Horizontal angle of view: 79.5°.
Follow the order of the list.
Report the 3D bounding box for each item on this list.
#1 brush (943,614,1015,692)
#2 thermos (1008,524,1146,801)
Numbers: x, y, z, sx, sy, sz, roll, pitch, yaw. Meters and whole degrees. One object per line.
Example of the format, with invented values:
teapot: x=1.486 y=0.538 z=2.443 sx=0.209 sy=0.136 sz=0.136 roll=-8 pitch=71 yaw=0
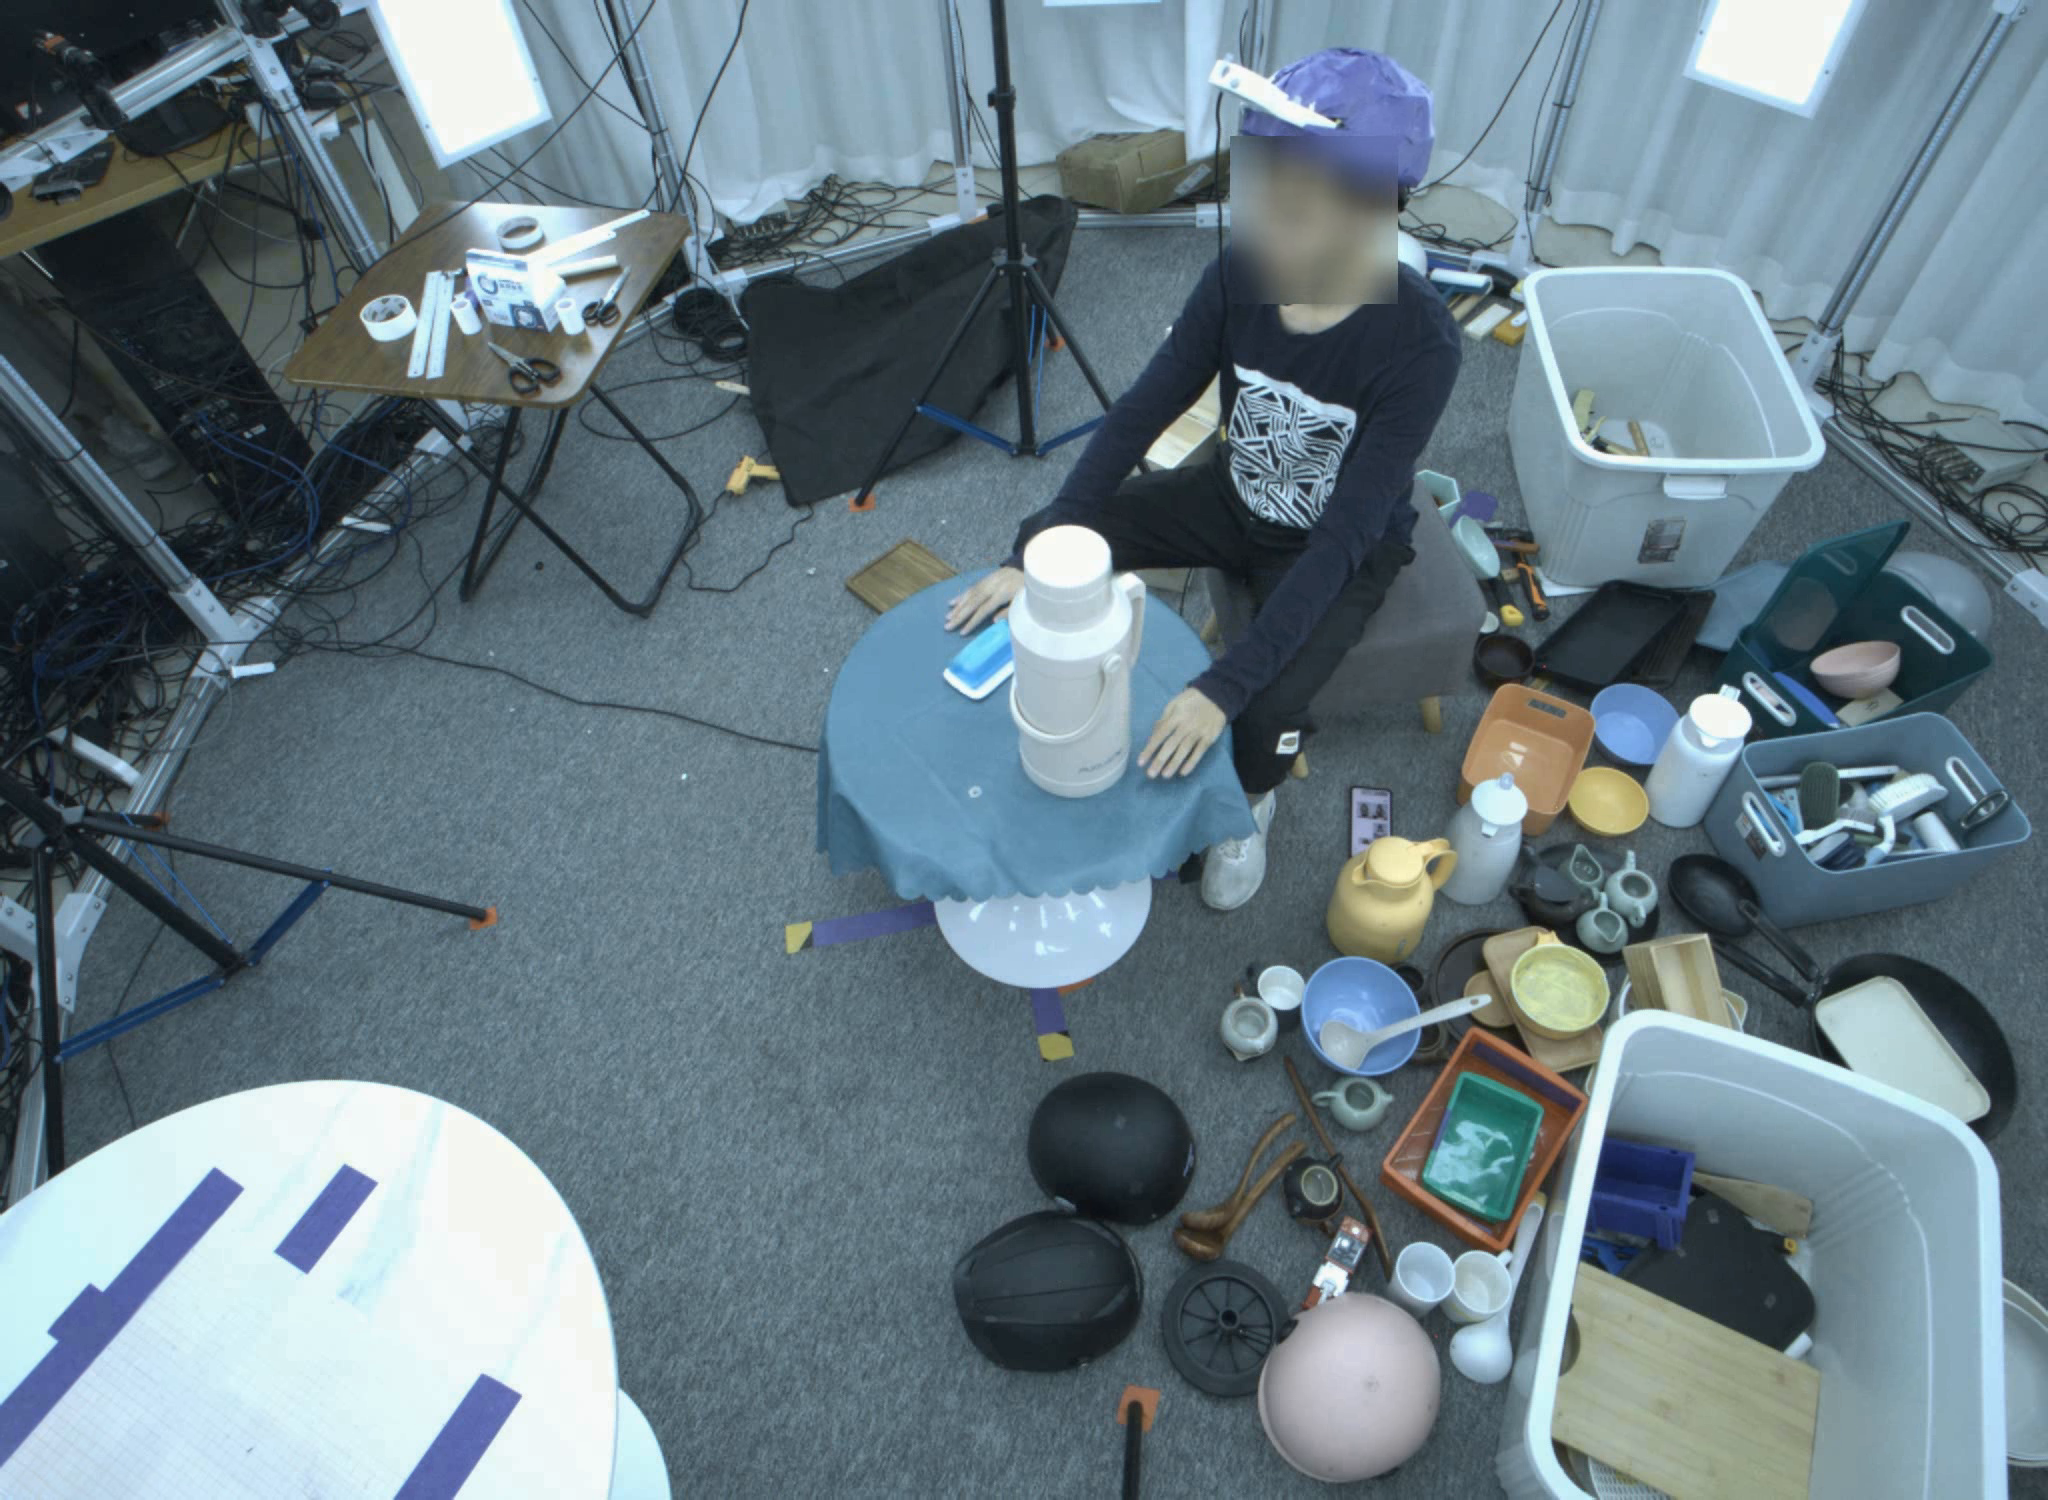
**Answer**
brush: x=-0.050 y=-0.155 z=1.854 sx=0.082 sy=0.056 sz=0.145 roll=39 pitch=67 yaw=23
thermos: x=0.075 y=-0.117 z=1.615 sx=0.209 sy=0.411 sz=0.172 roll=-34 pitch=57 yaw=-20
